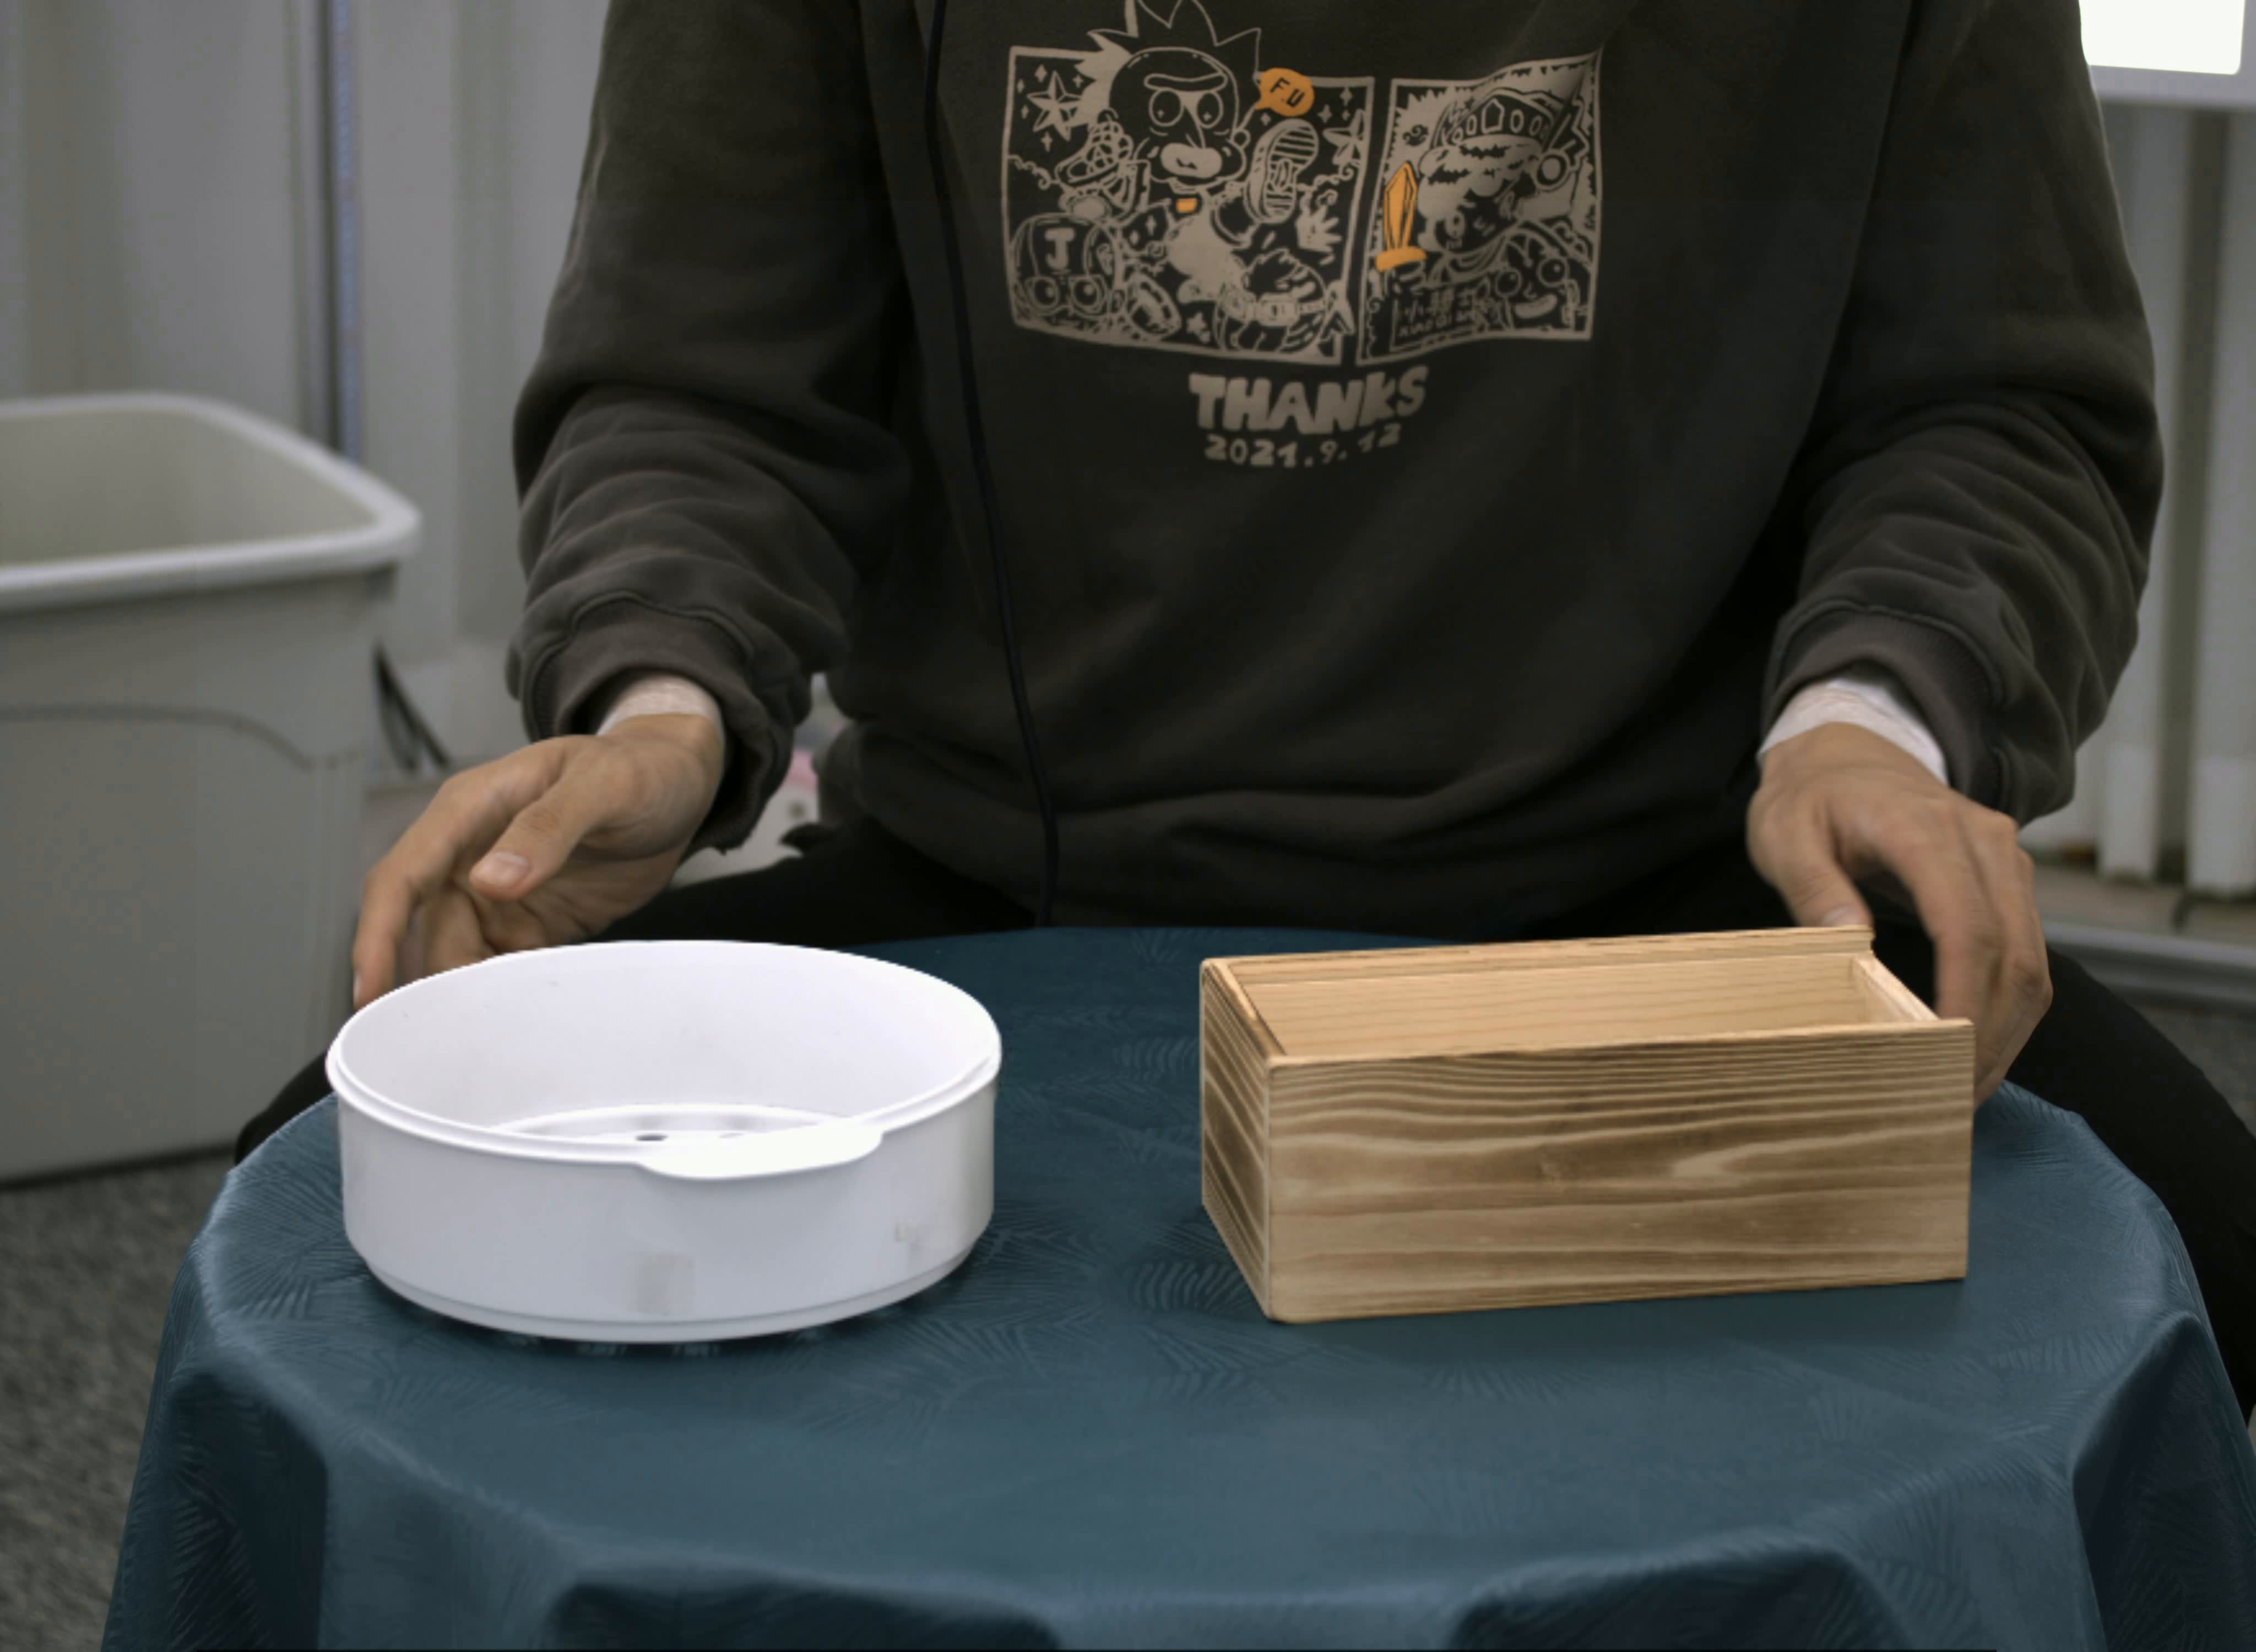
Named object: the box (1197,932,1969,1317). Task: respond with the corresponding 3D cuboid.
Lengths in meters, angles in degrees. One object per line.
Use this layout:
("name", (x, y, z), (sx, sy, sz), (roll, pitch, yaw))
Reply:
("box", (0.133, 0.087, 1.575), (0.211, 0.081, 0.106), (-2, 15, -11))

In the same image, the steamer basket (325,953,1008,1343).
("steamer basket", (-0.136, 0.095, 1.563), (0.202, 0.070, 0.228), (-5, 15, -21))
